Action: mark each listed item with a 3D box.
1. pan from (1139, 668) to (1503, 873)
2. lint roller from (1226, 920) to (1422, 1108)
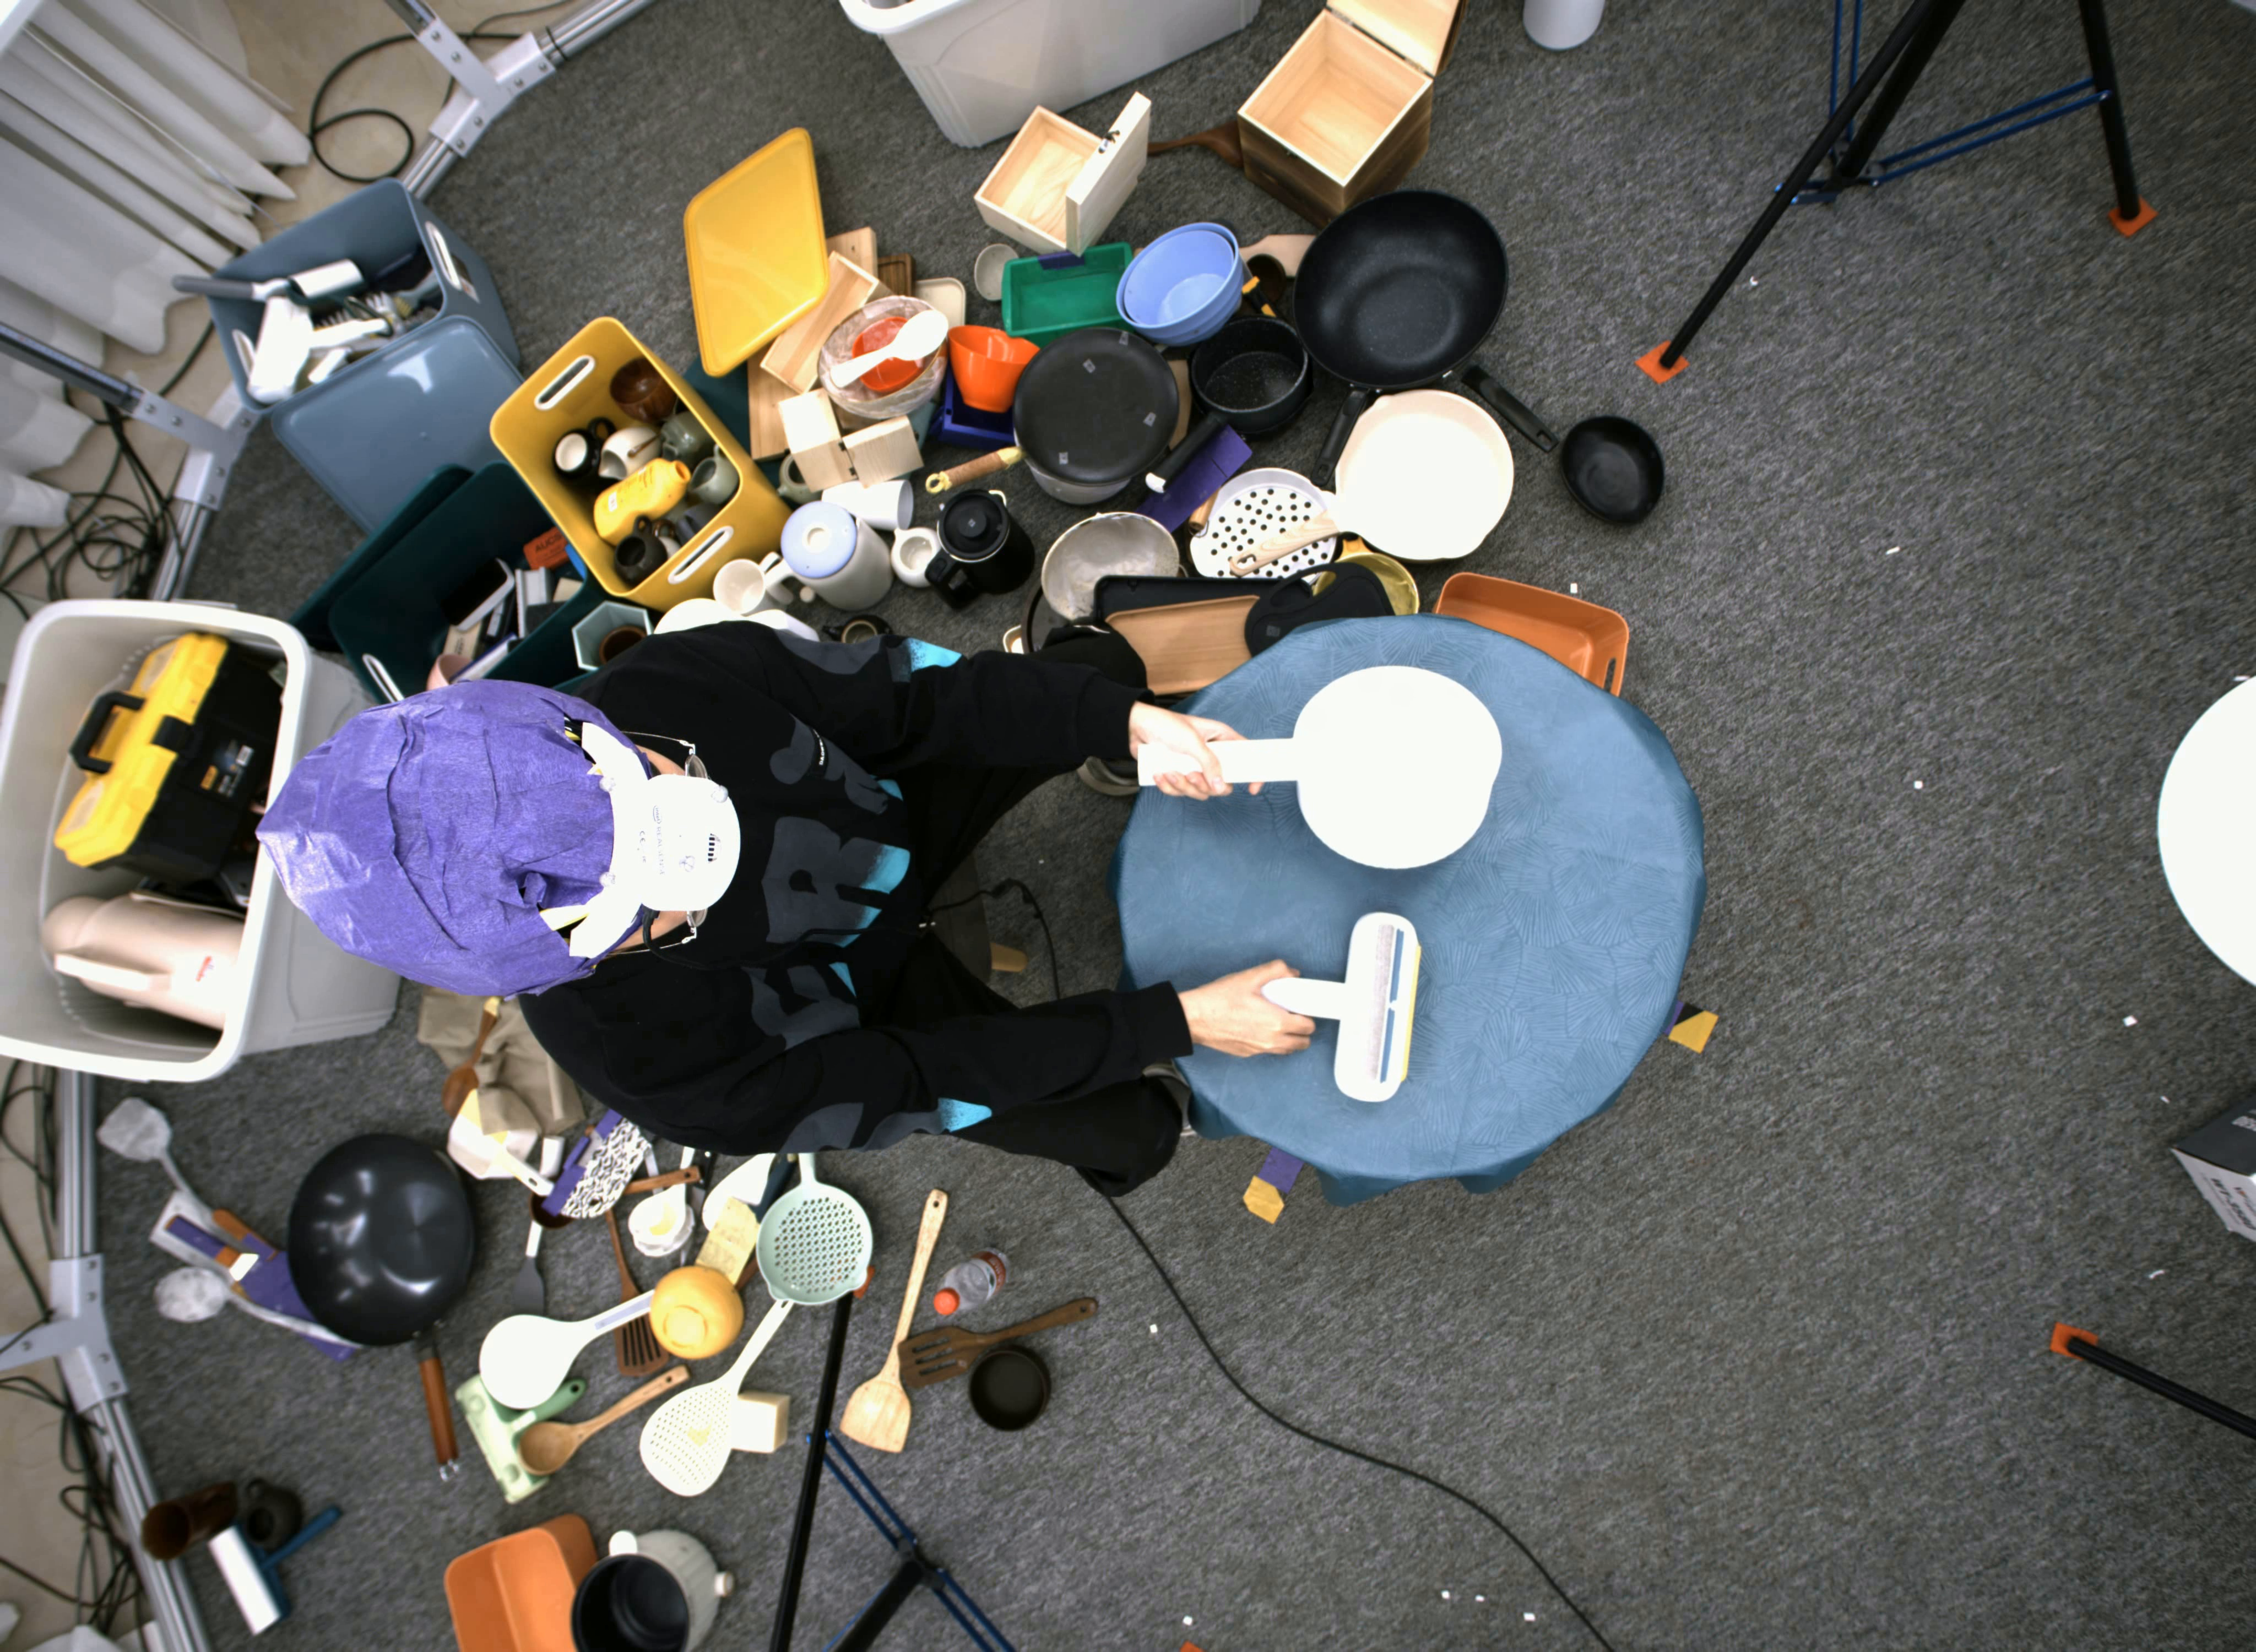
[{"bbox_3d":[0.192,-0.046,1.388,0.356,0.104,0.196,-5,60,6],"label":"pan"},{"bbox_3d":[0.194,0.179,1.425,0.193,0.074,0.191,12,83,8],"label":"lint roller"}]
